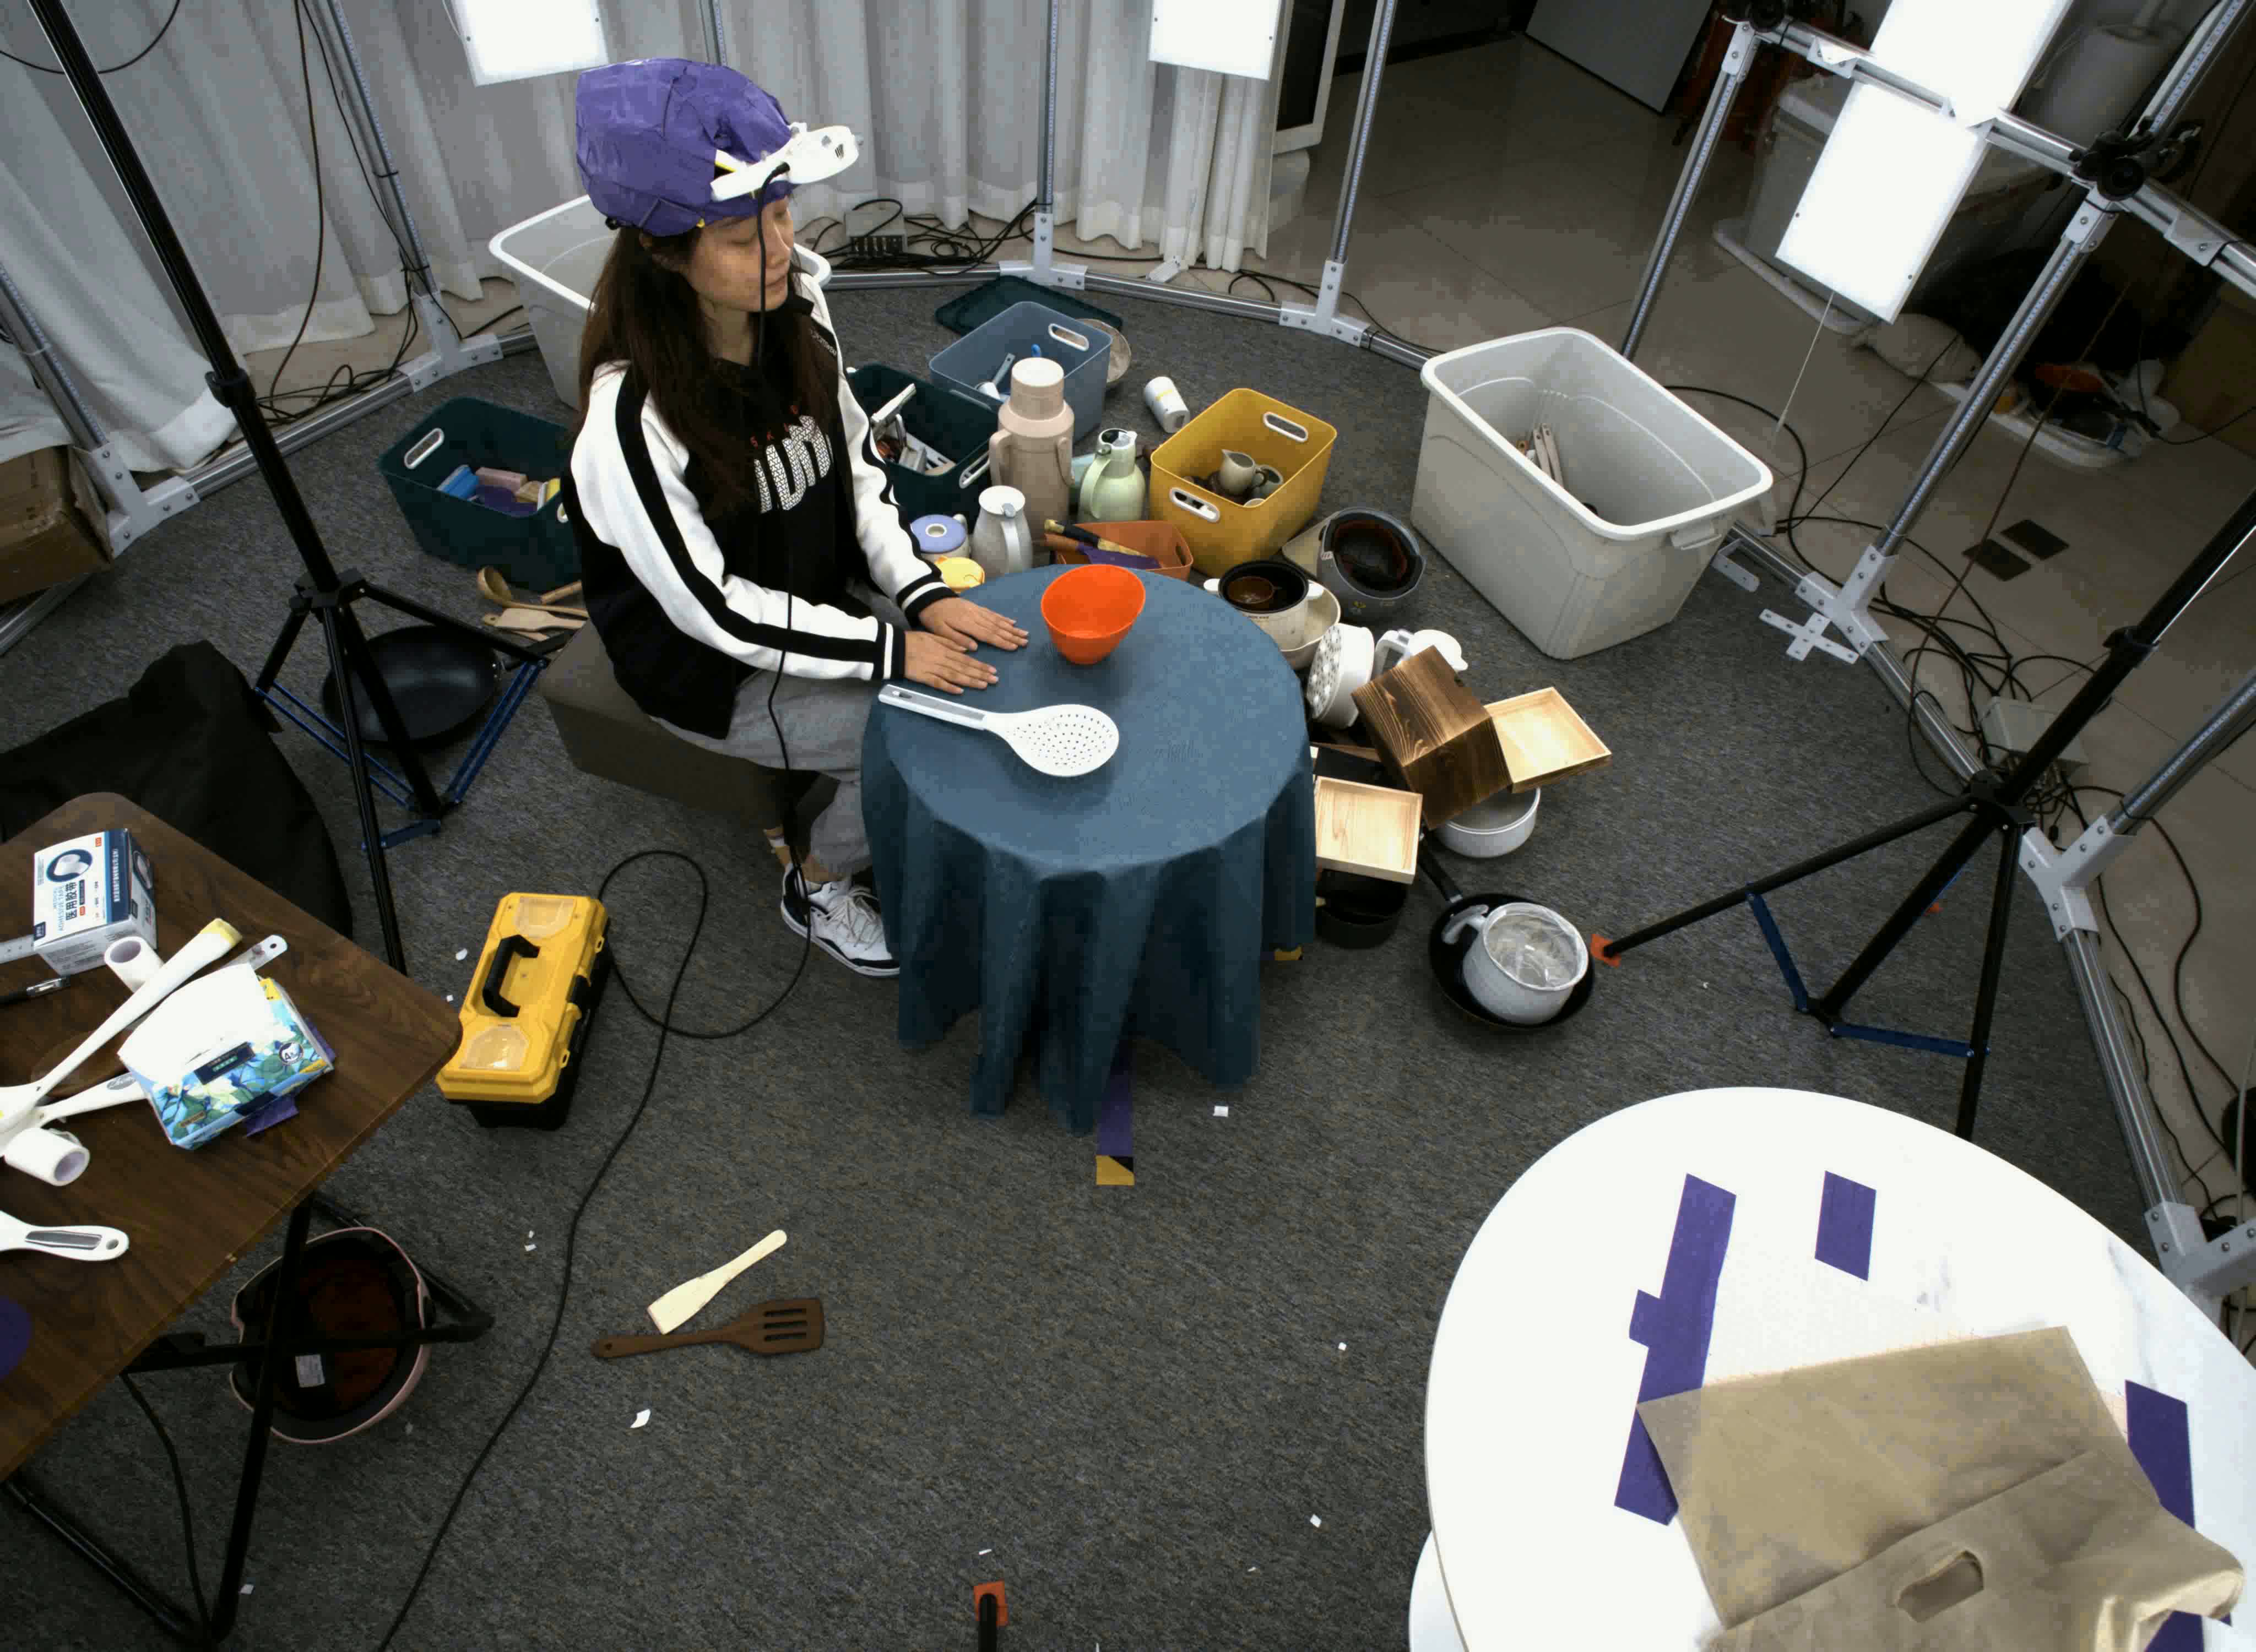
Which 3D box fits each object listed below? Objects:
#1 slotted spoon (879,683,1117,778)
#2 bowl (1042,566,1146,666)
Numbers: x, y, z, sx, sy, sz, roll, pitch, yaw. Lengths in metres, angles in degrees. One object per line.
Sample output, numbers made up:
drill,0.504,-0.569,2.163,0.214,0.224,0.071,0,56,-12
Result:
slotted spoon,-0.181,-0.140,1.750,0.351,0.044,0.138,19,49,13
bowl,-0.050,-0.293,1.857,0.148,0.102,0.152,1,51,-2
